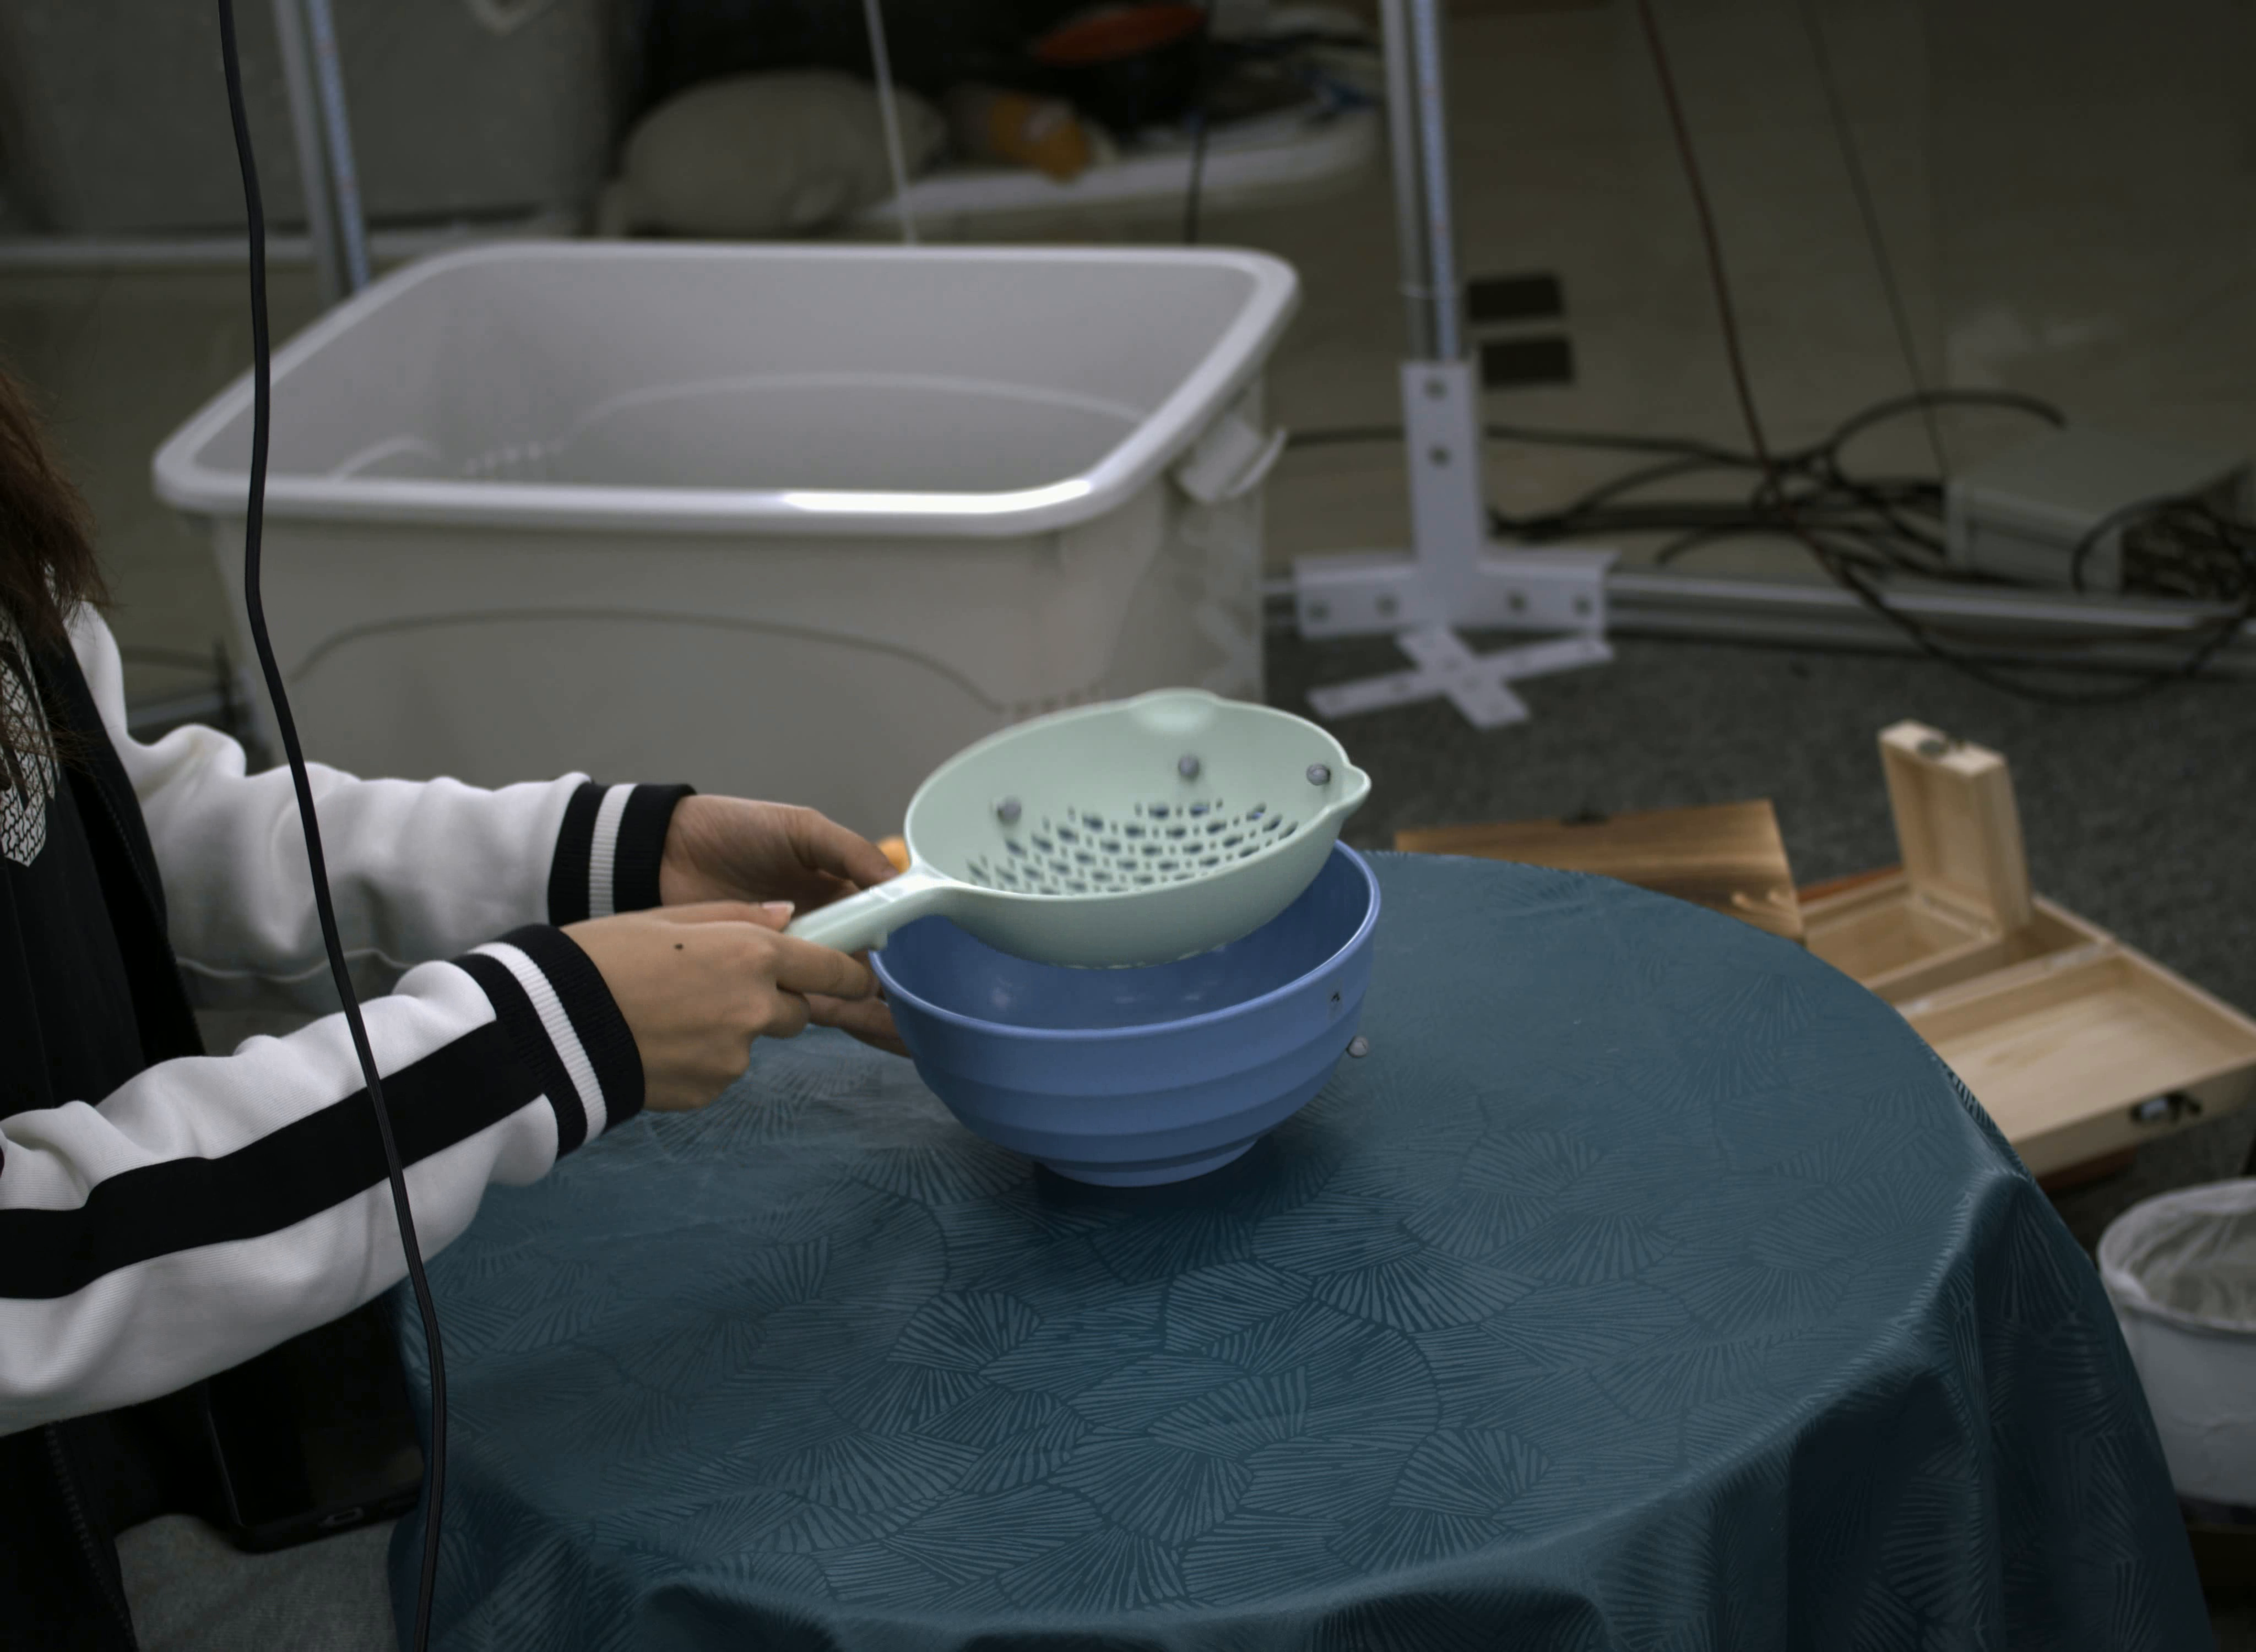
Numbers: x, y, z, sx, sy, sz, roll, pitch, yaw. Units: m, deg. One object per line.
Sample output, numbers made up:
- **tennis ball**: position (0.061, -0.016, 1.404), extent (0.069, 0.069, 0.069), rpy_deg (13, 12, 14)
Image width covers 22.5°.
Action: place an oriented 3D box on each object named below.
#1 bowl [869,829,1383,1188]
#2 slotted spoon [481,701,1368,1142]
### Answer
- **bowl**: position (0.004, 0.076, 2.170), extent (0.196, 0.097, 0.193), rpy_deg (-5, 26, 3)
- **slotted spoon**: position (-0.079, 0.036, 2.088), extent (0.357, 0.076, 0.168), rpy_deg (-15, 21, -29)
